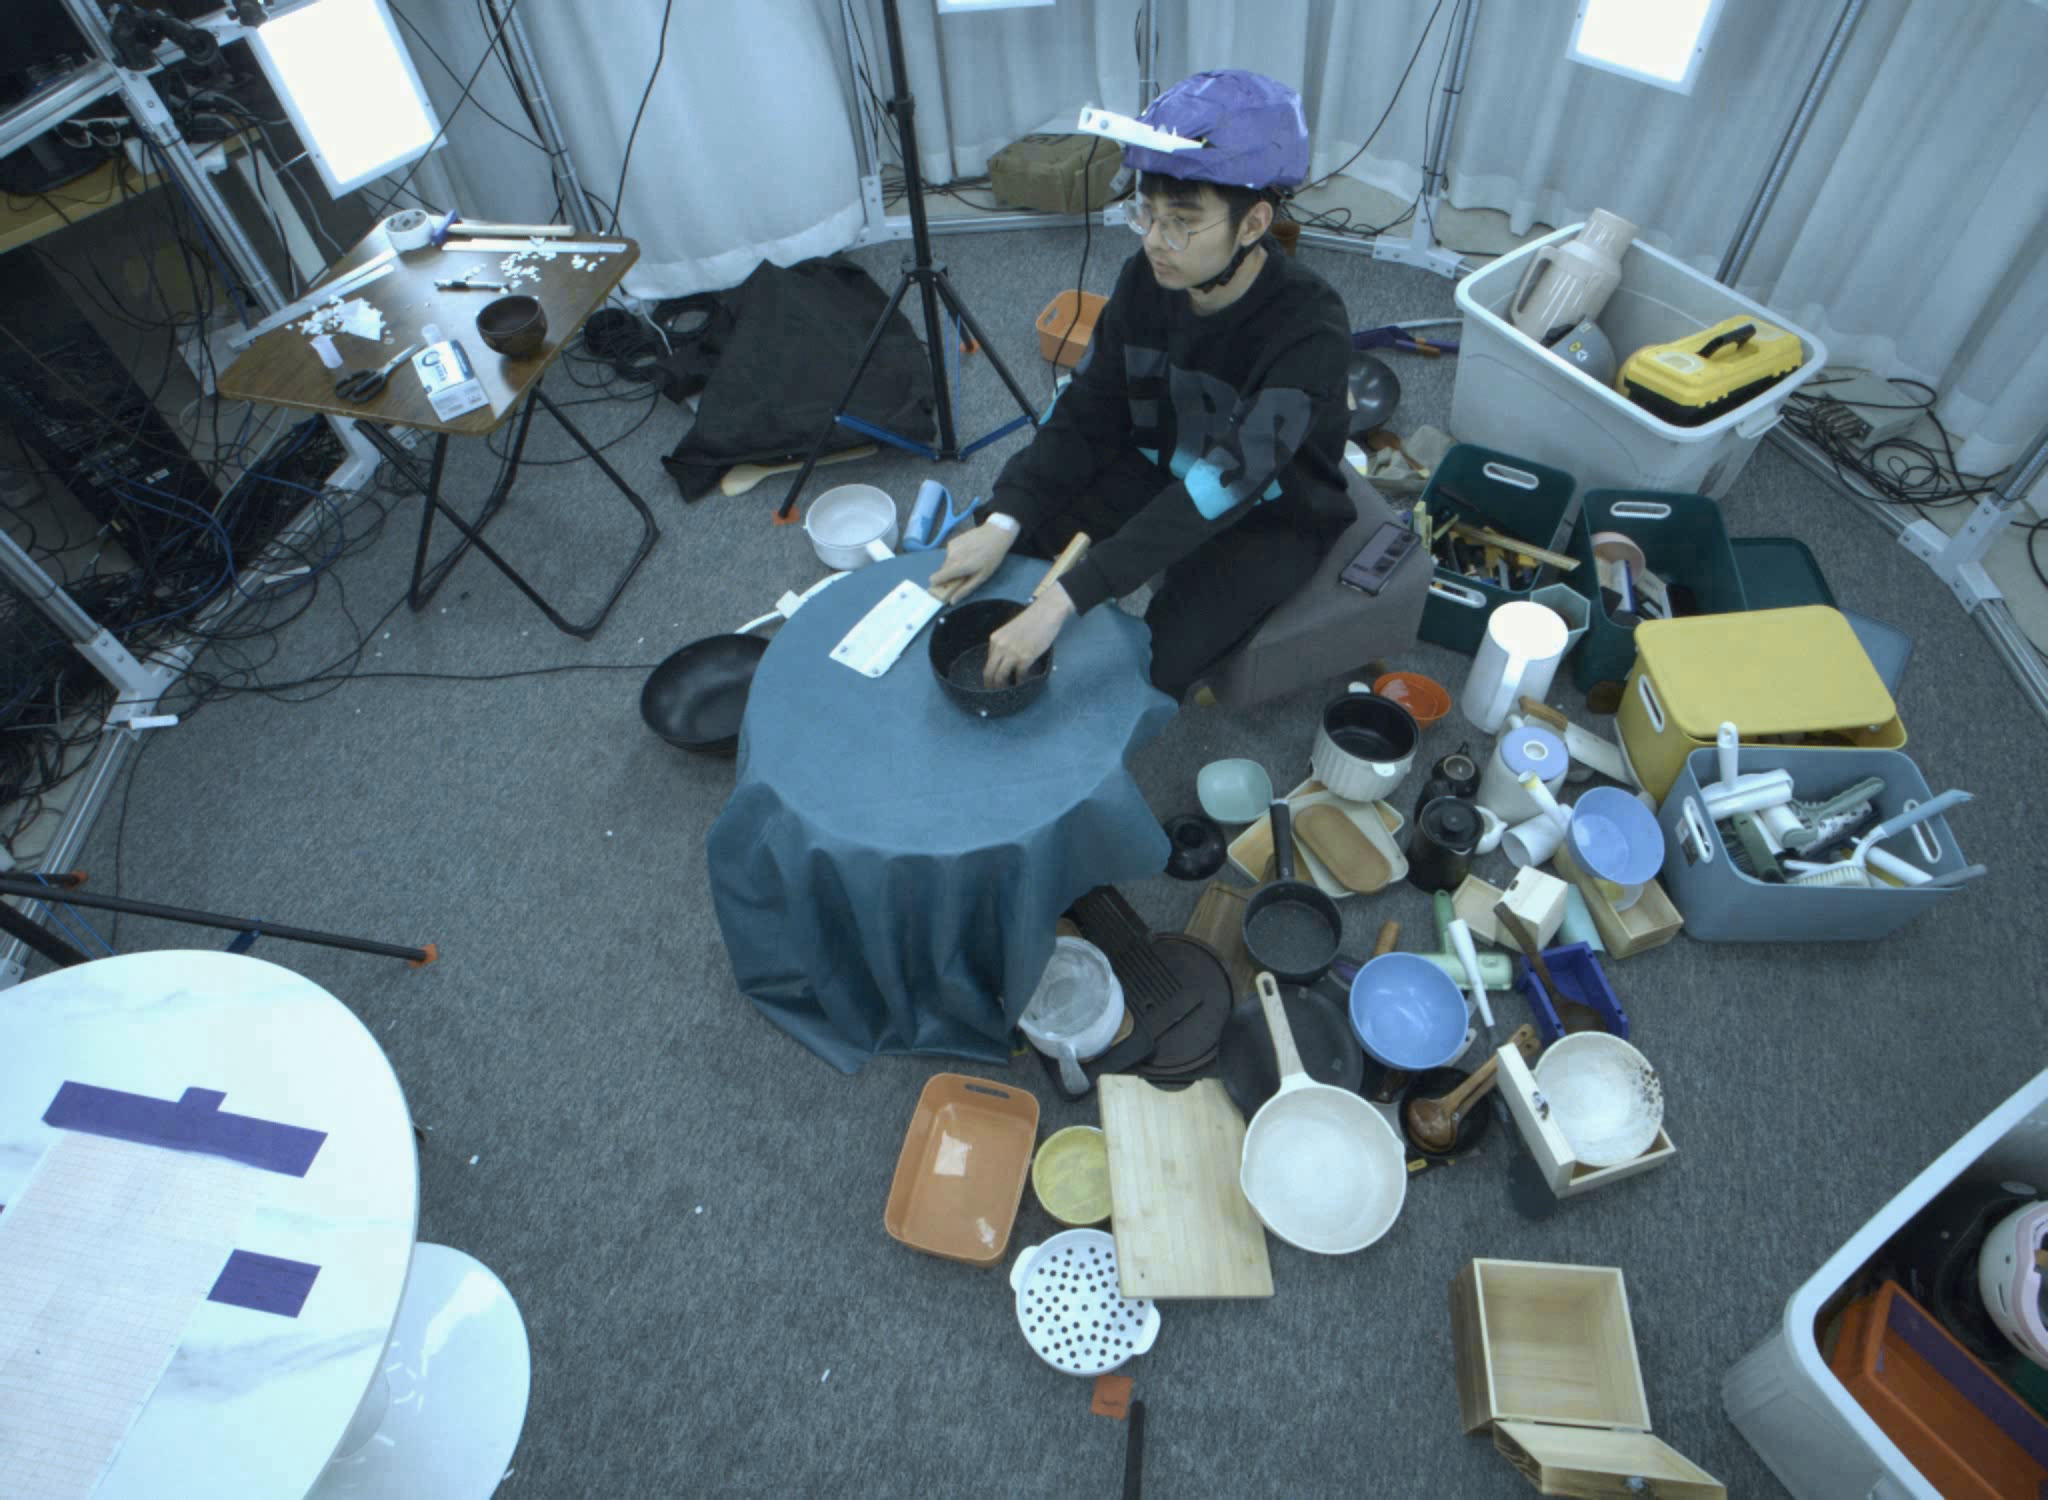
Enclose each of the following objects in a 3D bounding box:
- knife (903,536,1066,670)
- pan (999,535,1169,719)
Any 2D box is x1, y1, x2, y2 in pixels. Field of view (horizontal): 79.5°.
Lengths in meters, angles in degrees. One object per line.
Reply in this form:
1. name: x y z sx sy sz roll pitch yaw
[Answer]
1. knife: -0.052 -0.237 1.939 0.112 0.022 0.317 39 69 25
2. pan: 0.107 -0.189 1.849 0.204 0.109 0.344 31 63 23
